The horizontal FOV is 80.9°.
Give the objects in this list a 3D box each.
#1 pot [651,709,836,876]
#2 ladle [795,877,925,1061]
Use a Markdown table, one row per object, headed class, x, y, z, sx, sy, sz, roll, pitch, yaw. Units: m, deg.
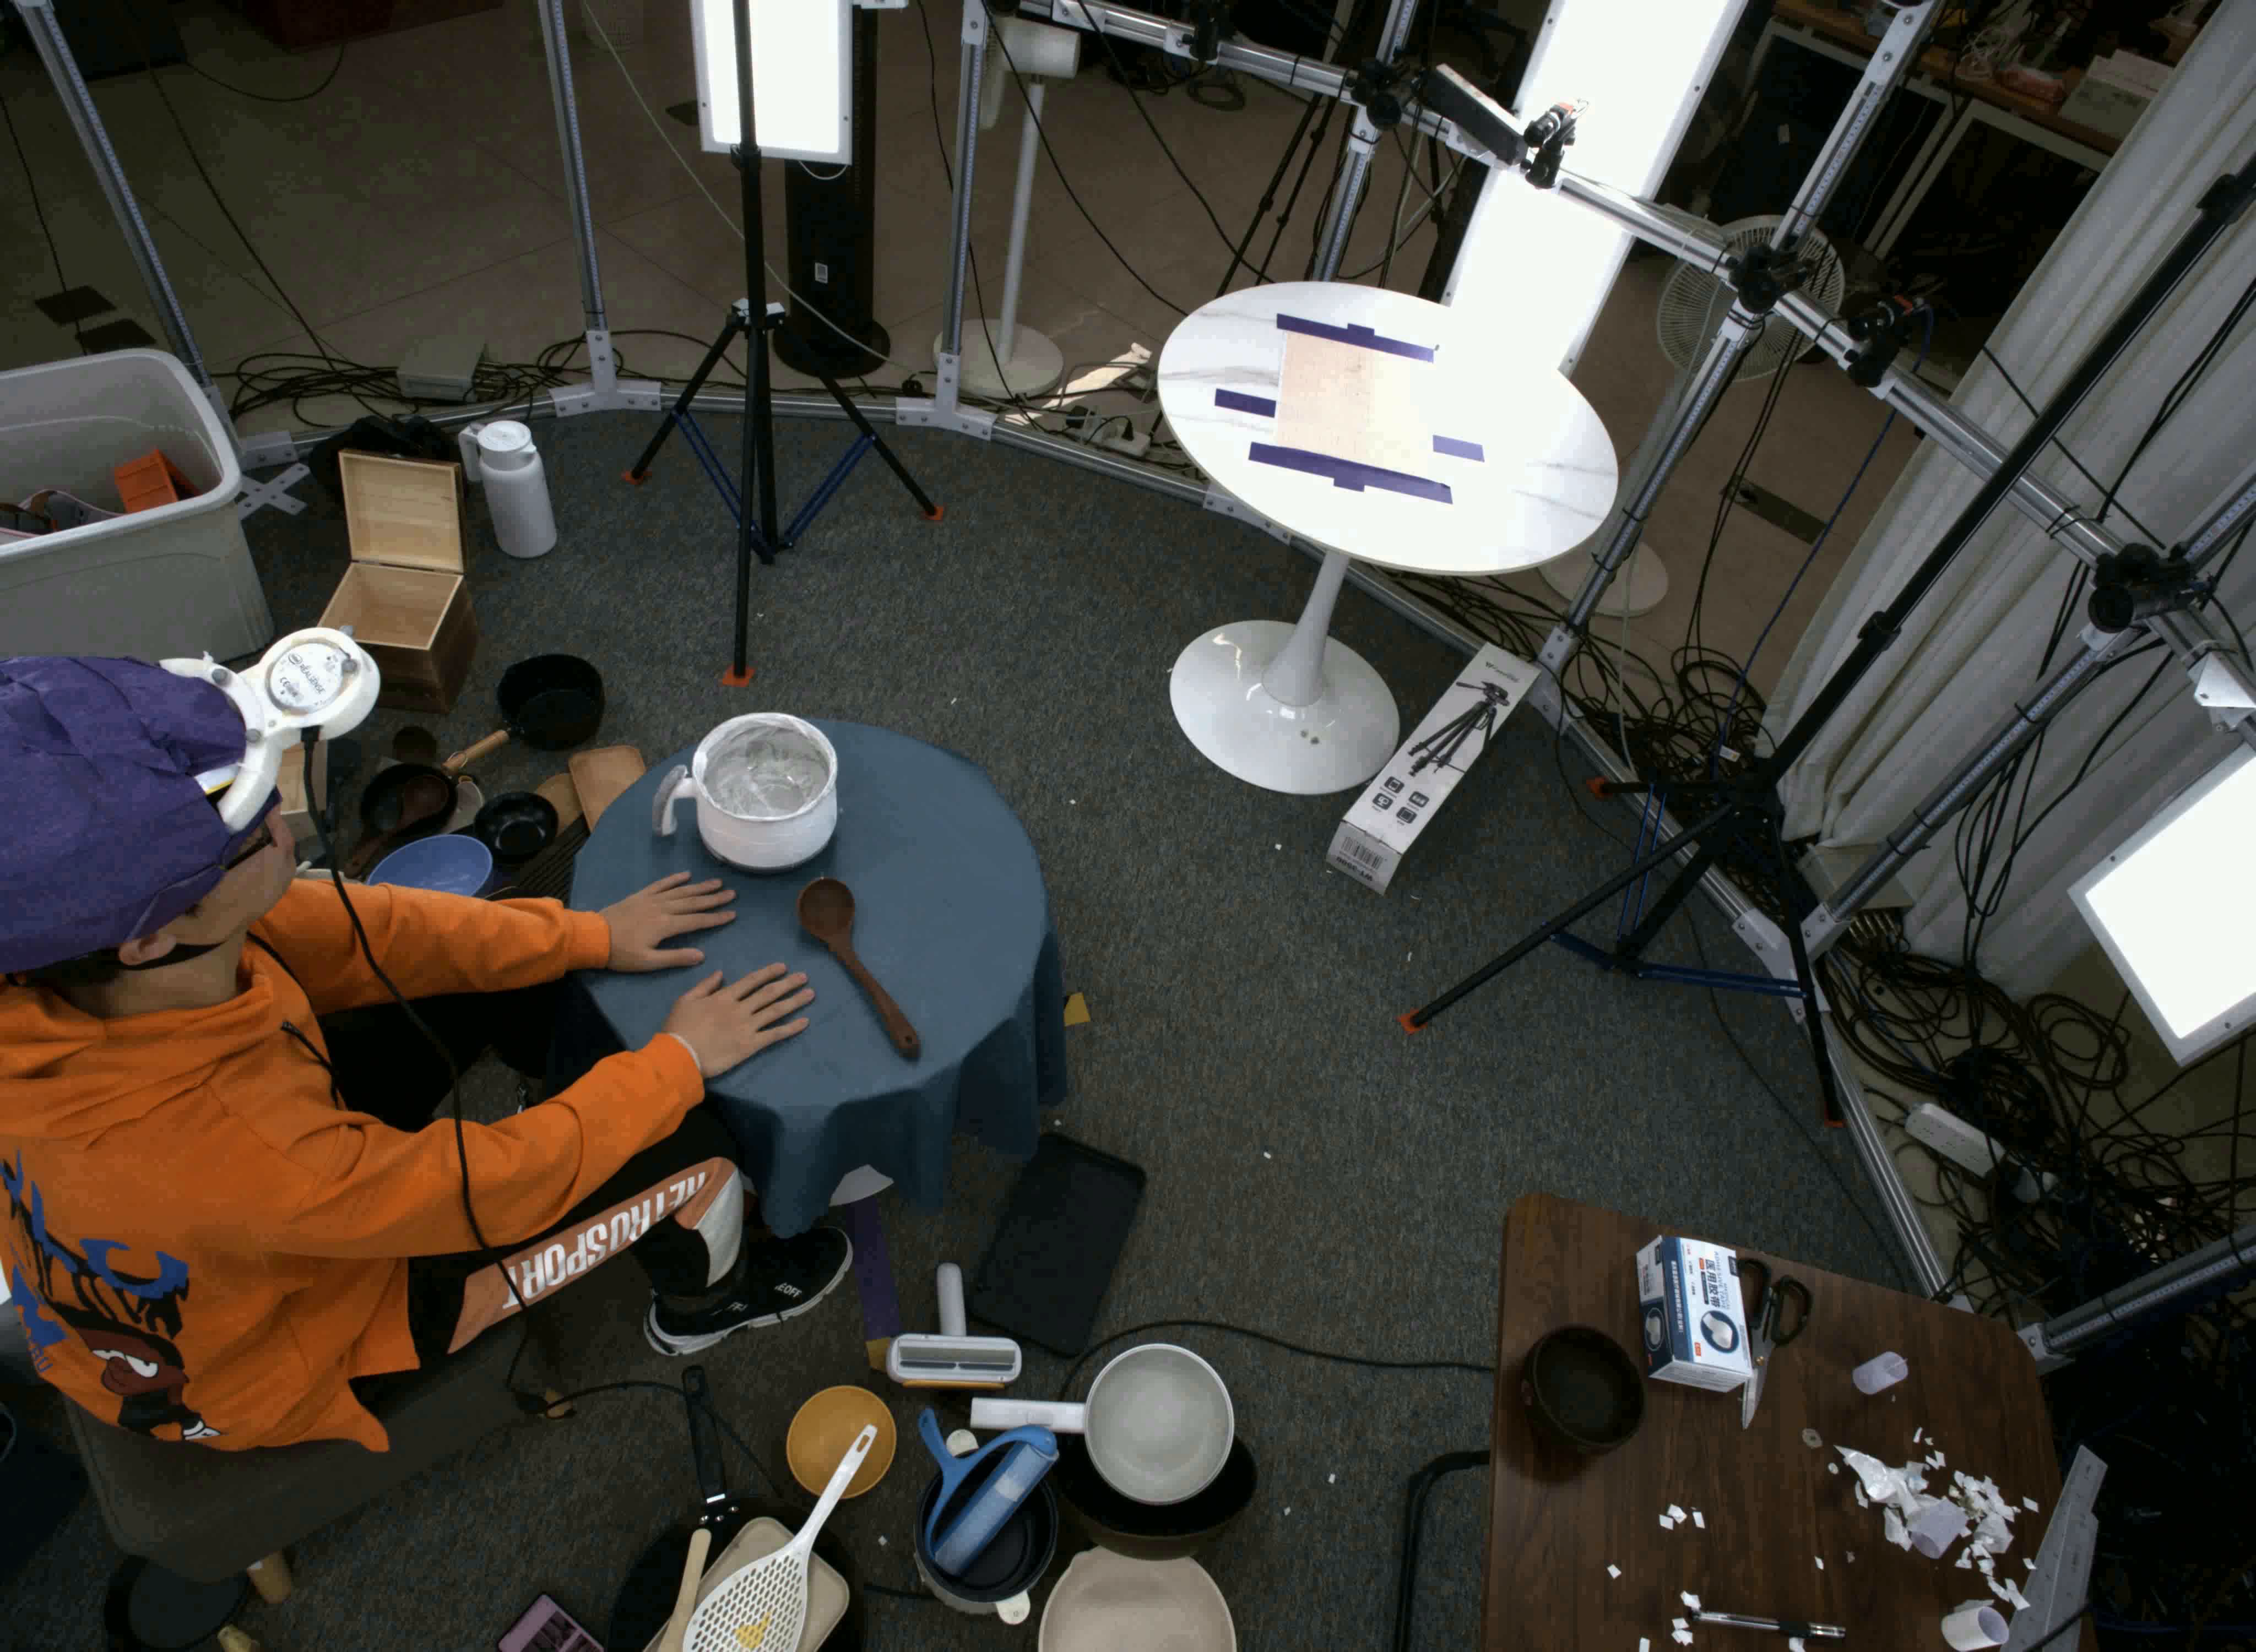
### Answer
| class | x | y | z | sx | sy | sz | roll | pitch | yaw |
| --- | --- | --- | --- | --- | --- | --- | --- | --- | --- |
| pot | -0.488 | -0.037 | 1.635 | 0.235 | 0.139 | 0.174 | -6 | 54 | -18 |
| ladle | -0.320 | 0.169 | 1.574 | 0.077 | 0.066 | 0.254 | -27 | 64 | -27 |
